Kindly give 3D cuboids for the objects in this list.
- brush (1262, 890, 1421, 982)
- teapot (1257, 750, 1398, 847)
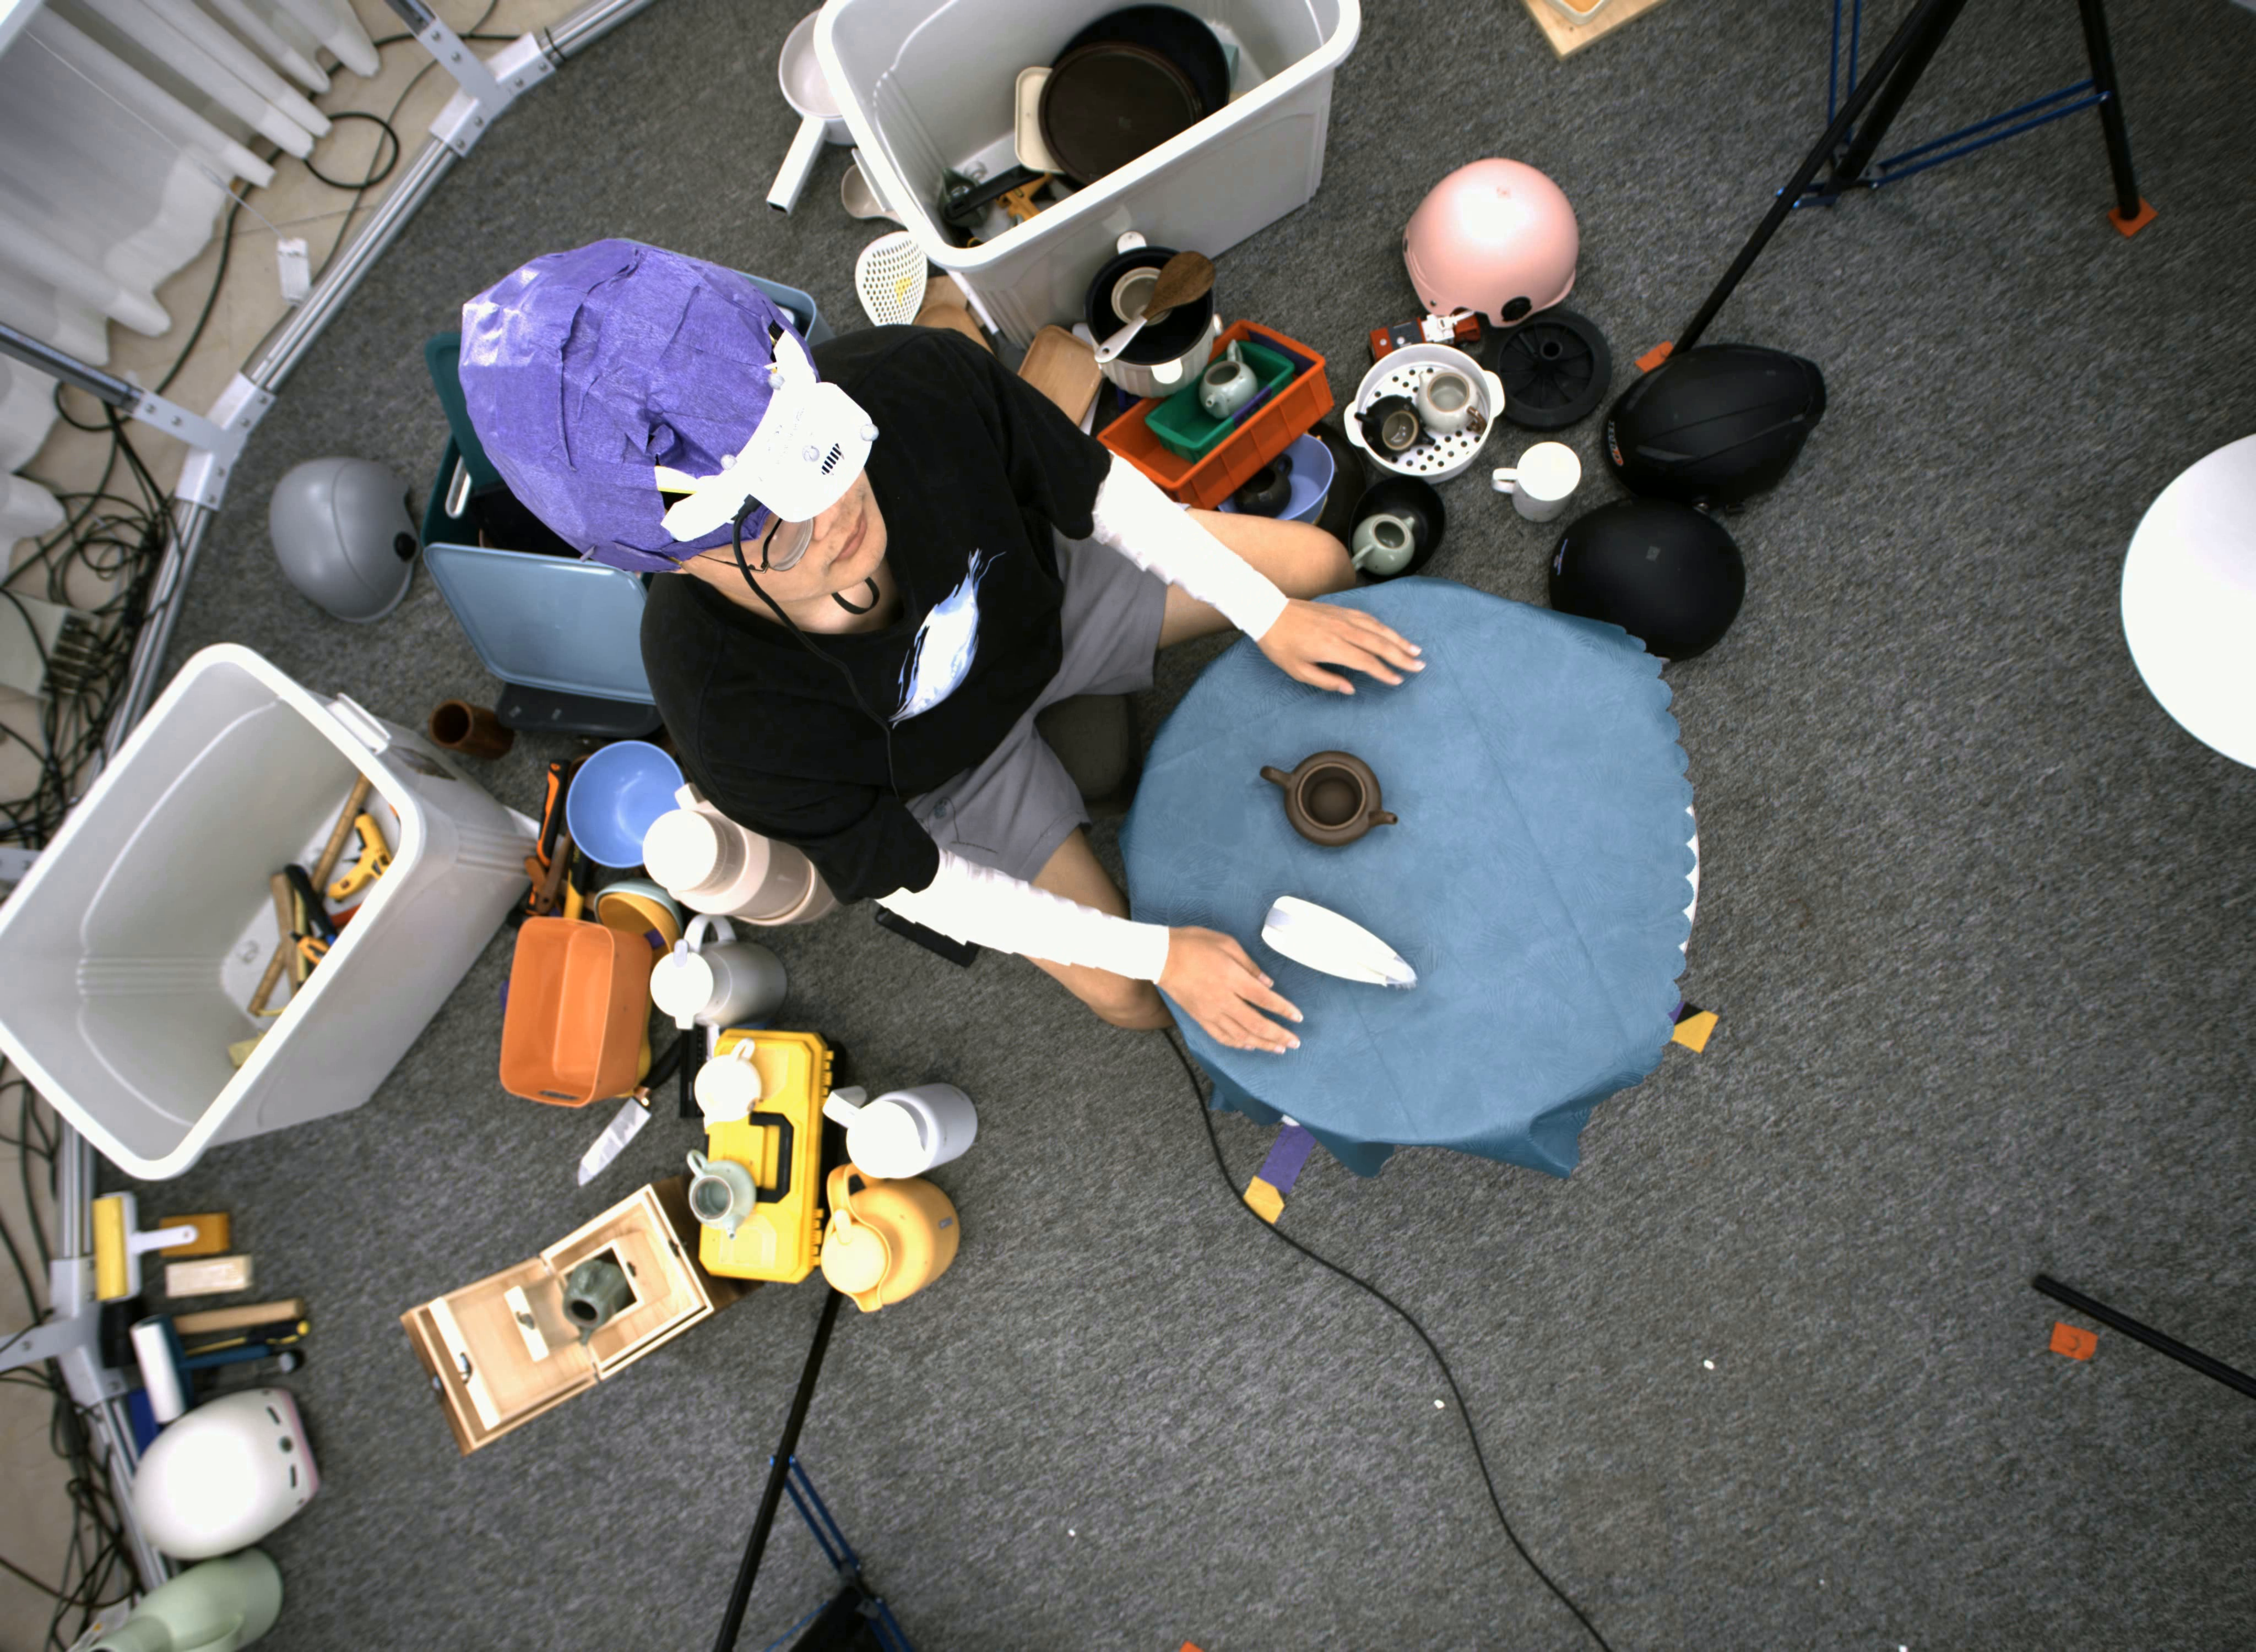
[{"bbox_3d":[0.220,0.121,1.419,0.175,0.094,0.061,23,93,9],"label":"brush"},{"bbox_3d":[0.209,-0.031,1.448,0.153,0.054,0.102,16,88,11],"label":"teapot"}]
